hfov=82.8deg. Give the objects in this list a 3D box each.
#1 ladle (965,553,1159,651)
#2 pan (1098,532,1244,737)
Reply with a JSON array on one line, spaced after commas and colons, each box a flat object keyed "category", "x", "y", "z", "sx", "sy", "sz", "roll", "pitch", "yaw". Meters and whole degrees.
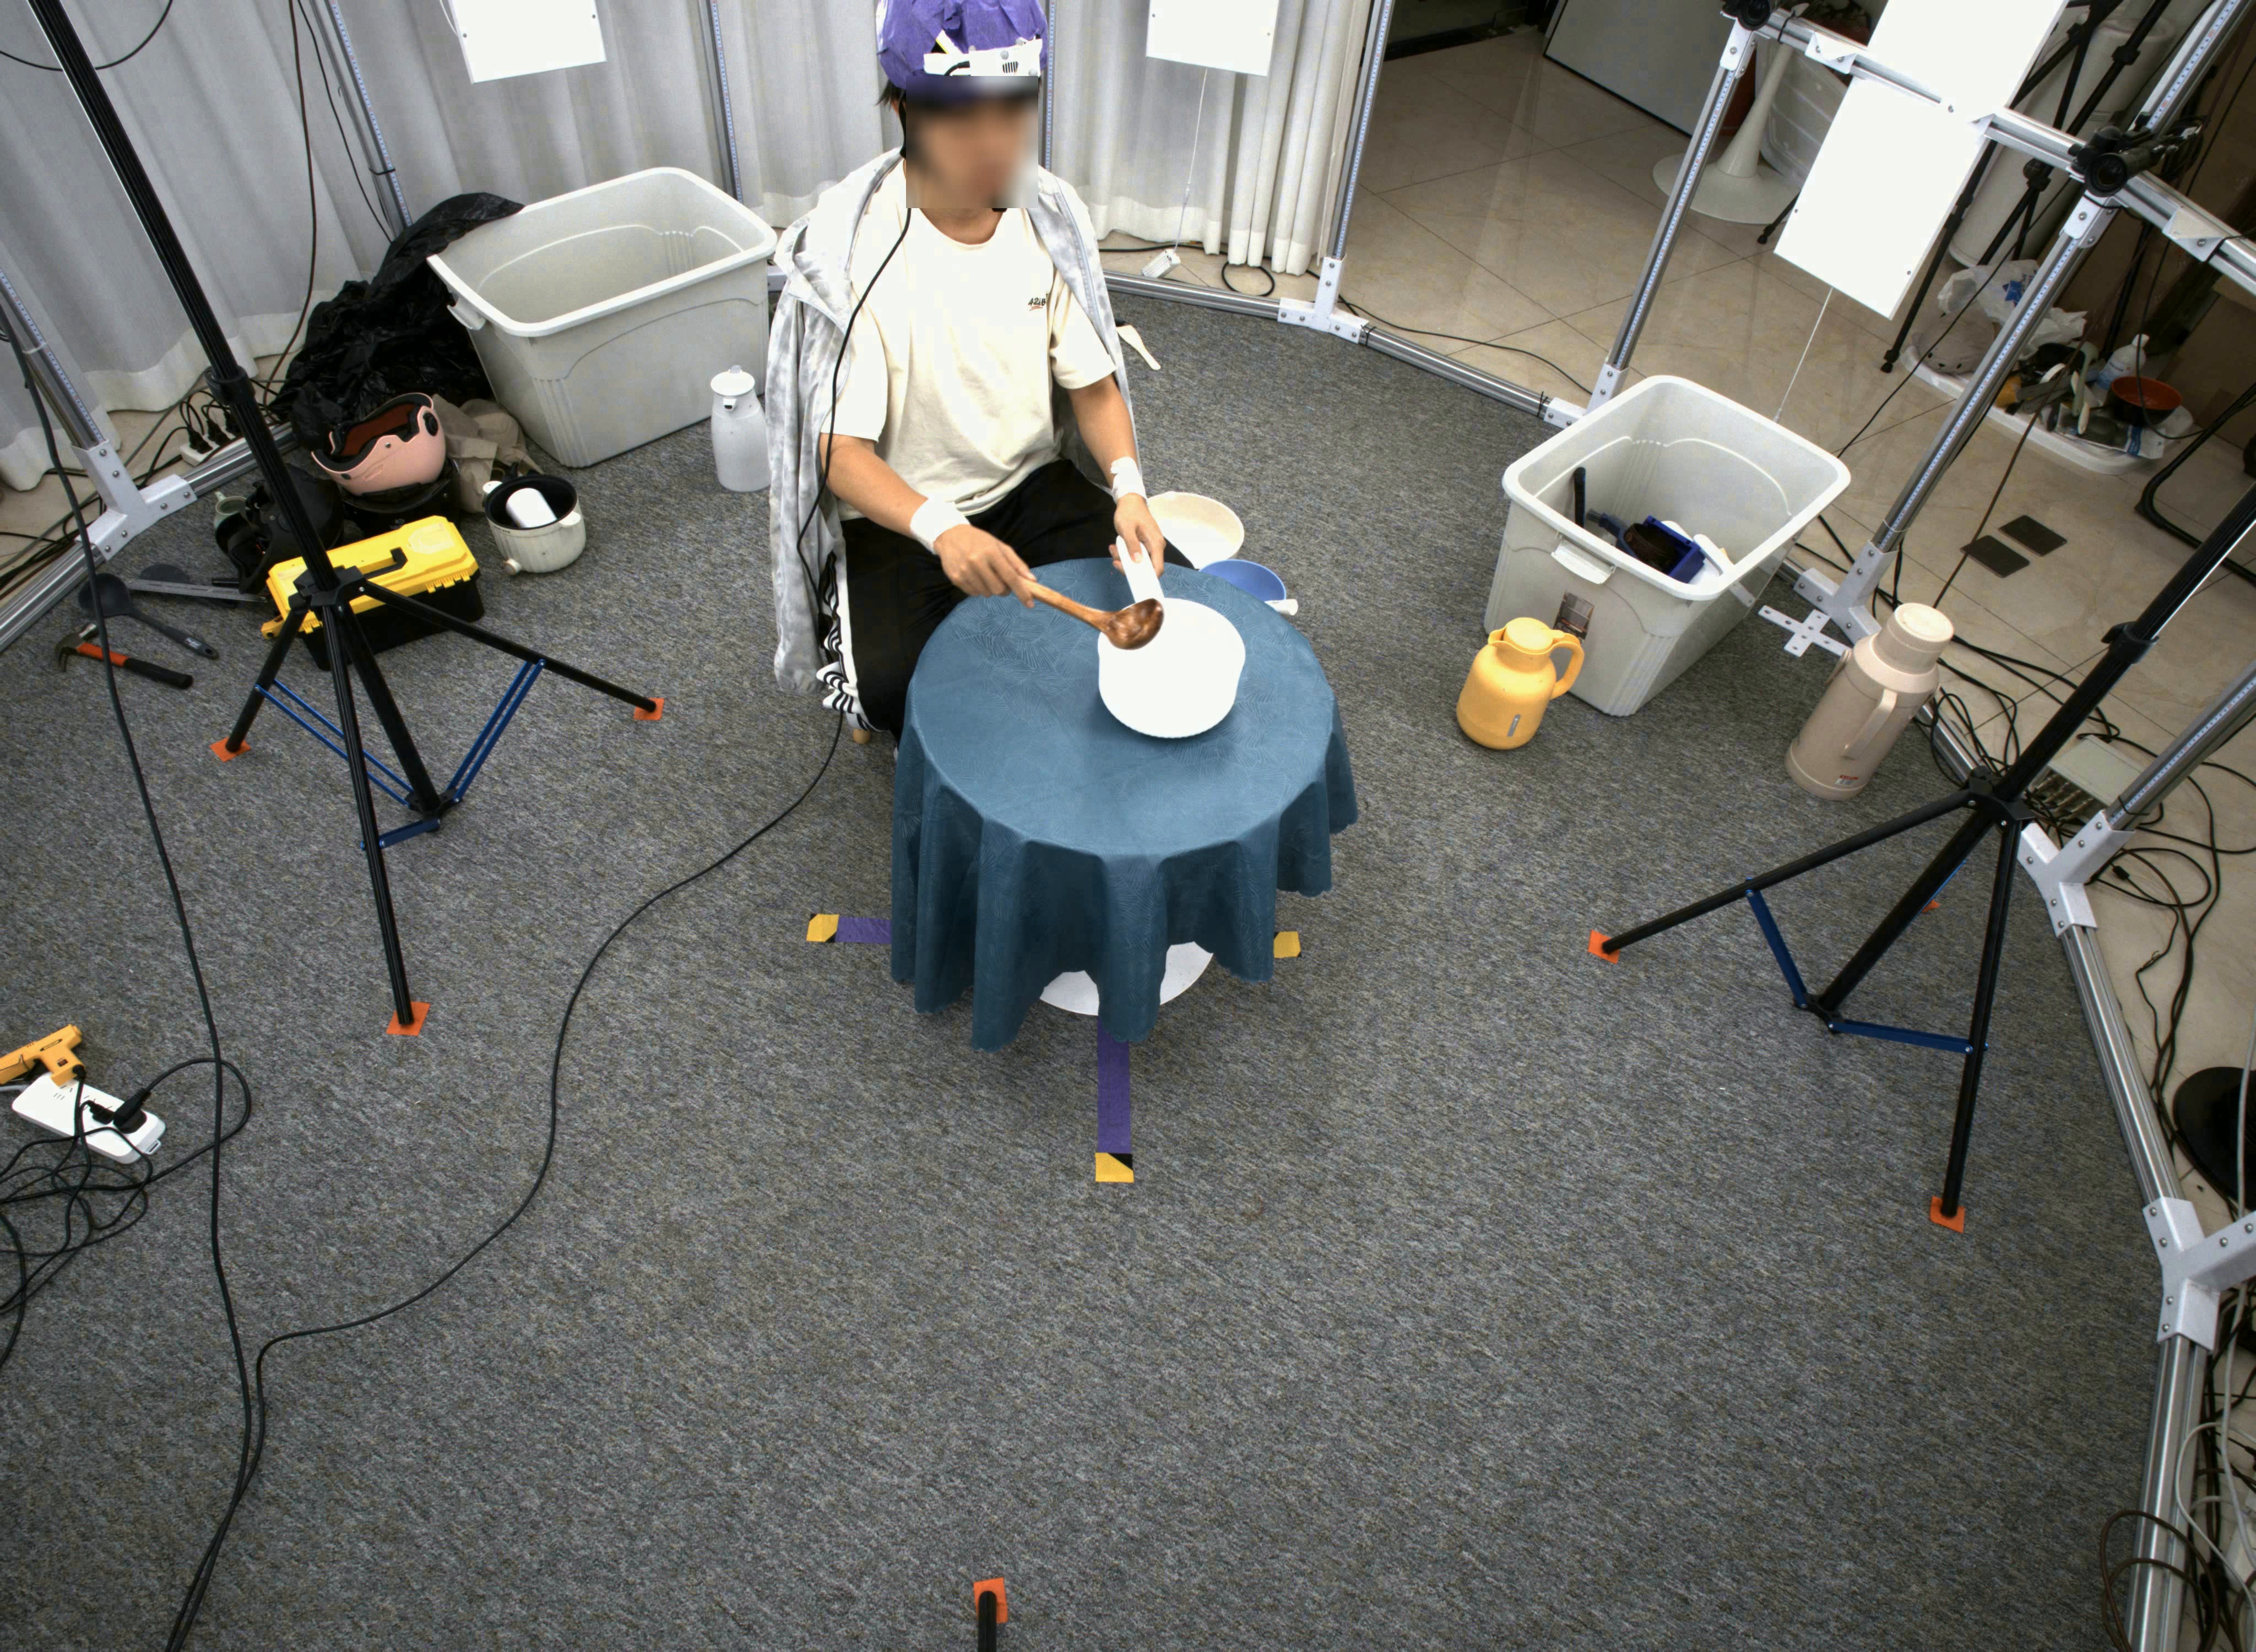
[{"category": "ladle", "x": -0.088, "y": -0.304, "z": 1.661, "sx": 0.275, "sy": 0.075, "sz": 0.083, "roll": 27, "pitch": 57, "yaw": 7}, {"category": "pan", "x": 0.041, "y": -0.274, "z": 1.838, "sx": 0.201, "sy": 0.099, "sz": 0.364, "roll": -8, "pitch": 49, "yaw": -10}]
